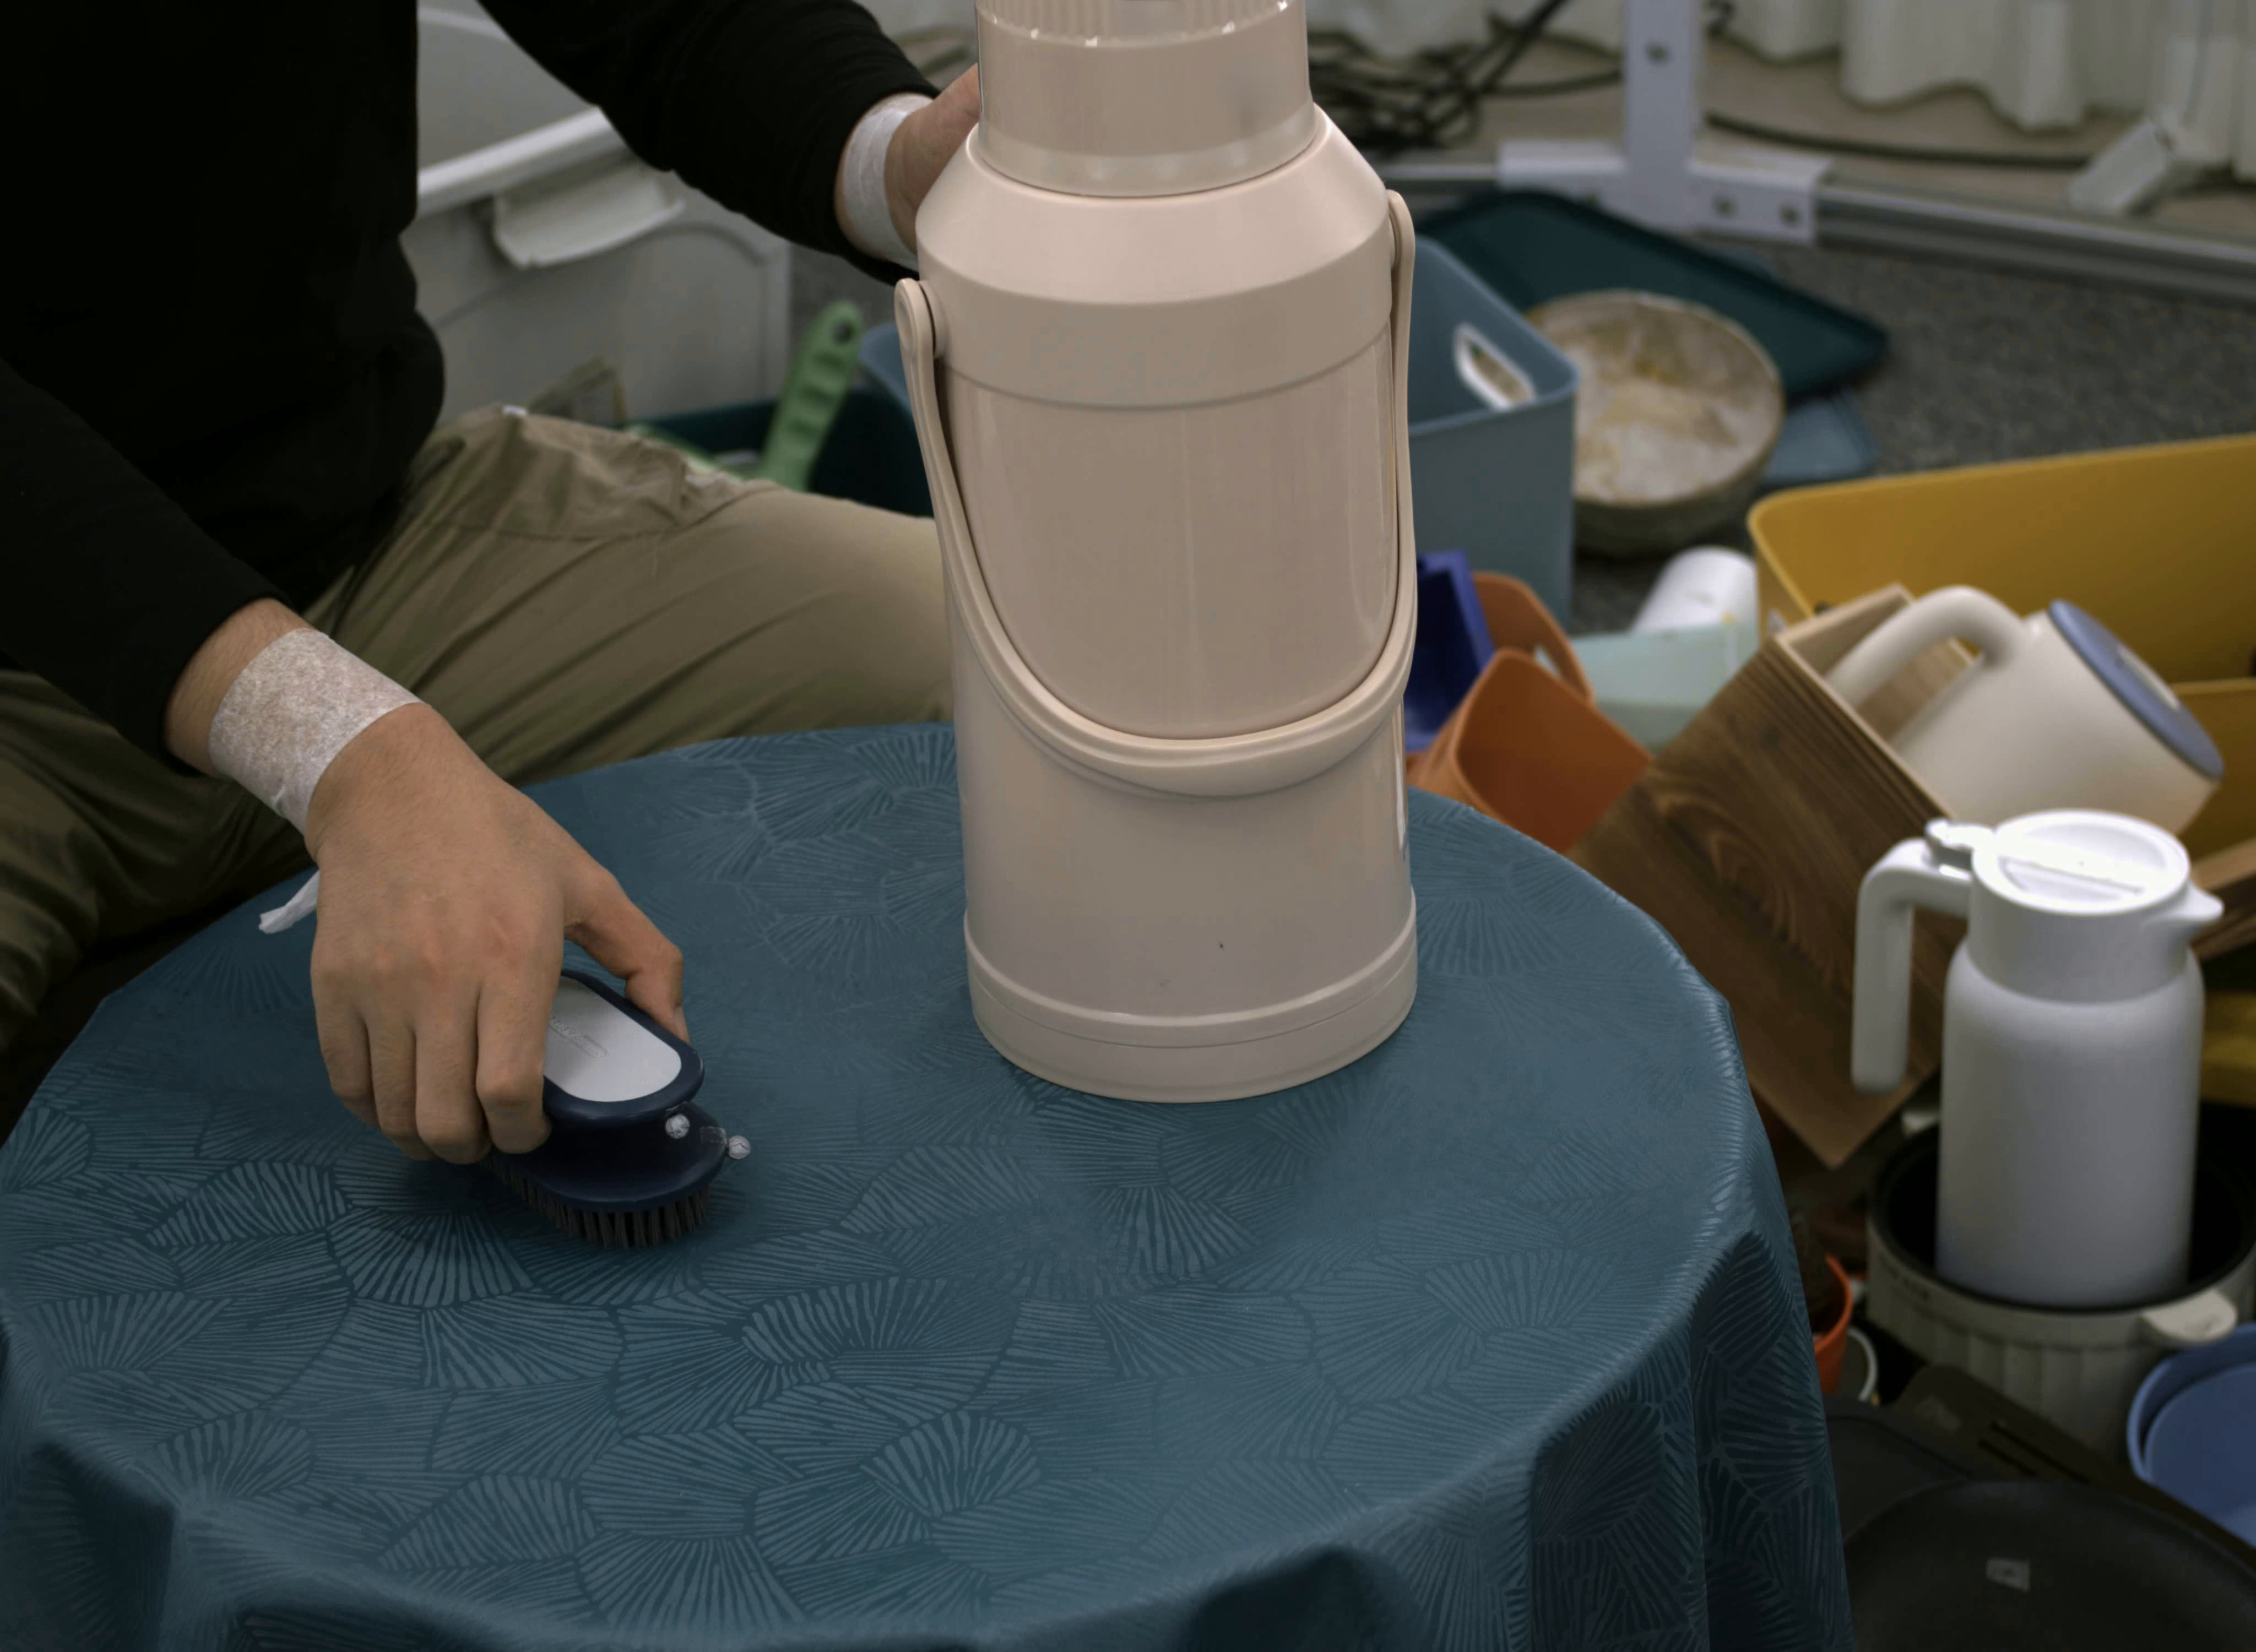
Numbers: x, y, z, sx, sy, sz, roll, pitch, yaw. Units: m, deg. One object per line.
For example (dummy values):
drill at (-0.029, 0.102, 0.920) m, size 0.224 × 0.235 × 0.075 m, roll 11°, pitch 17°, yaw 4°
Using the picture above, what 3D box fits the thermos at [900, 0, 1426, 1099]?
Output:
thermos at (0.011, -0.124, 1.909) m, size 0.176 × 0.402 × 0.209 m, roll -13°, pitch 28°, yaw -16°

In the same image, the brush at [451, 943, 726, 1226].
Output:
brush at (-0.180, 0.088, 1.872) m, size 0.068 × 0.060 × 0.122 m, roll -19°, pitch 31°, yaw -25°
